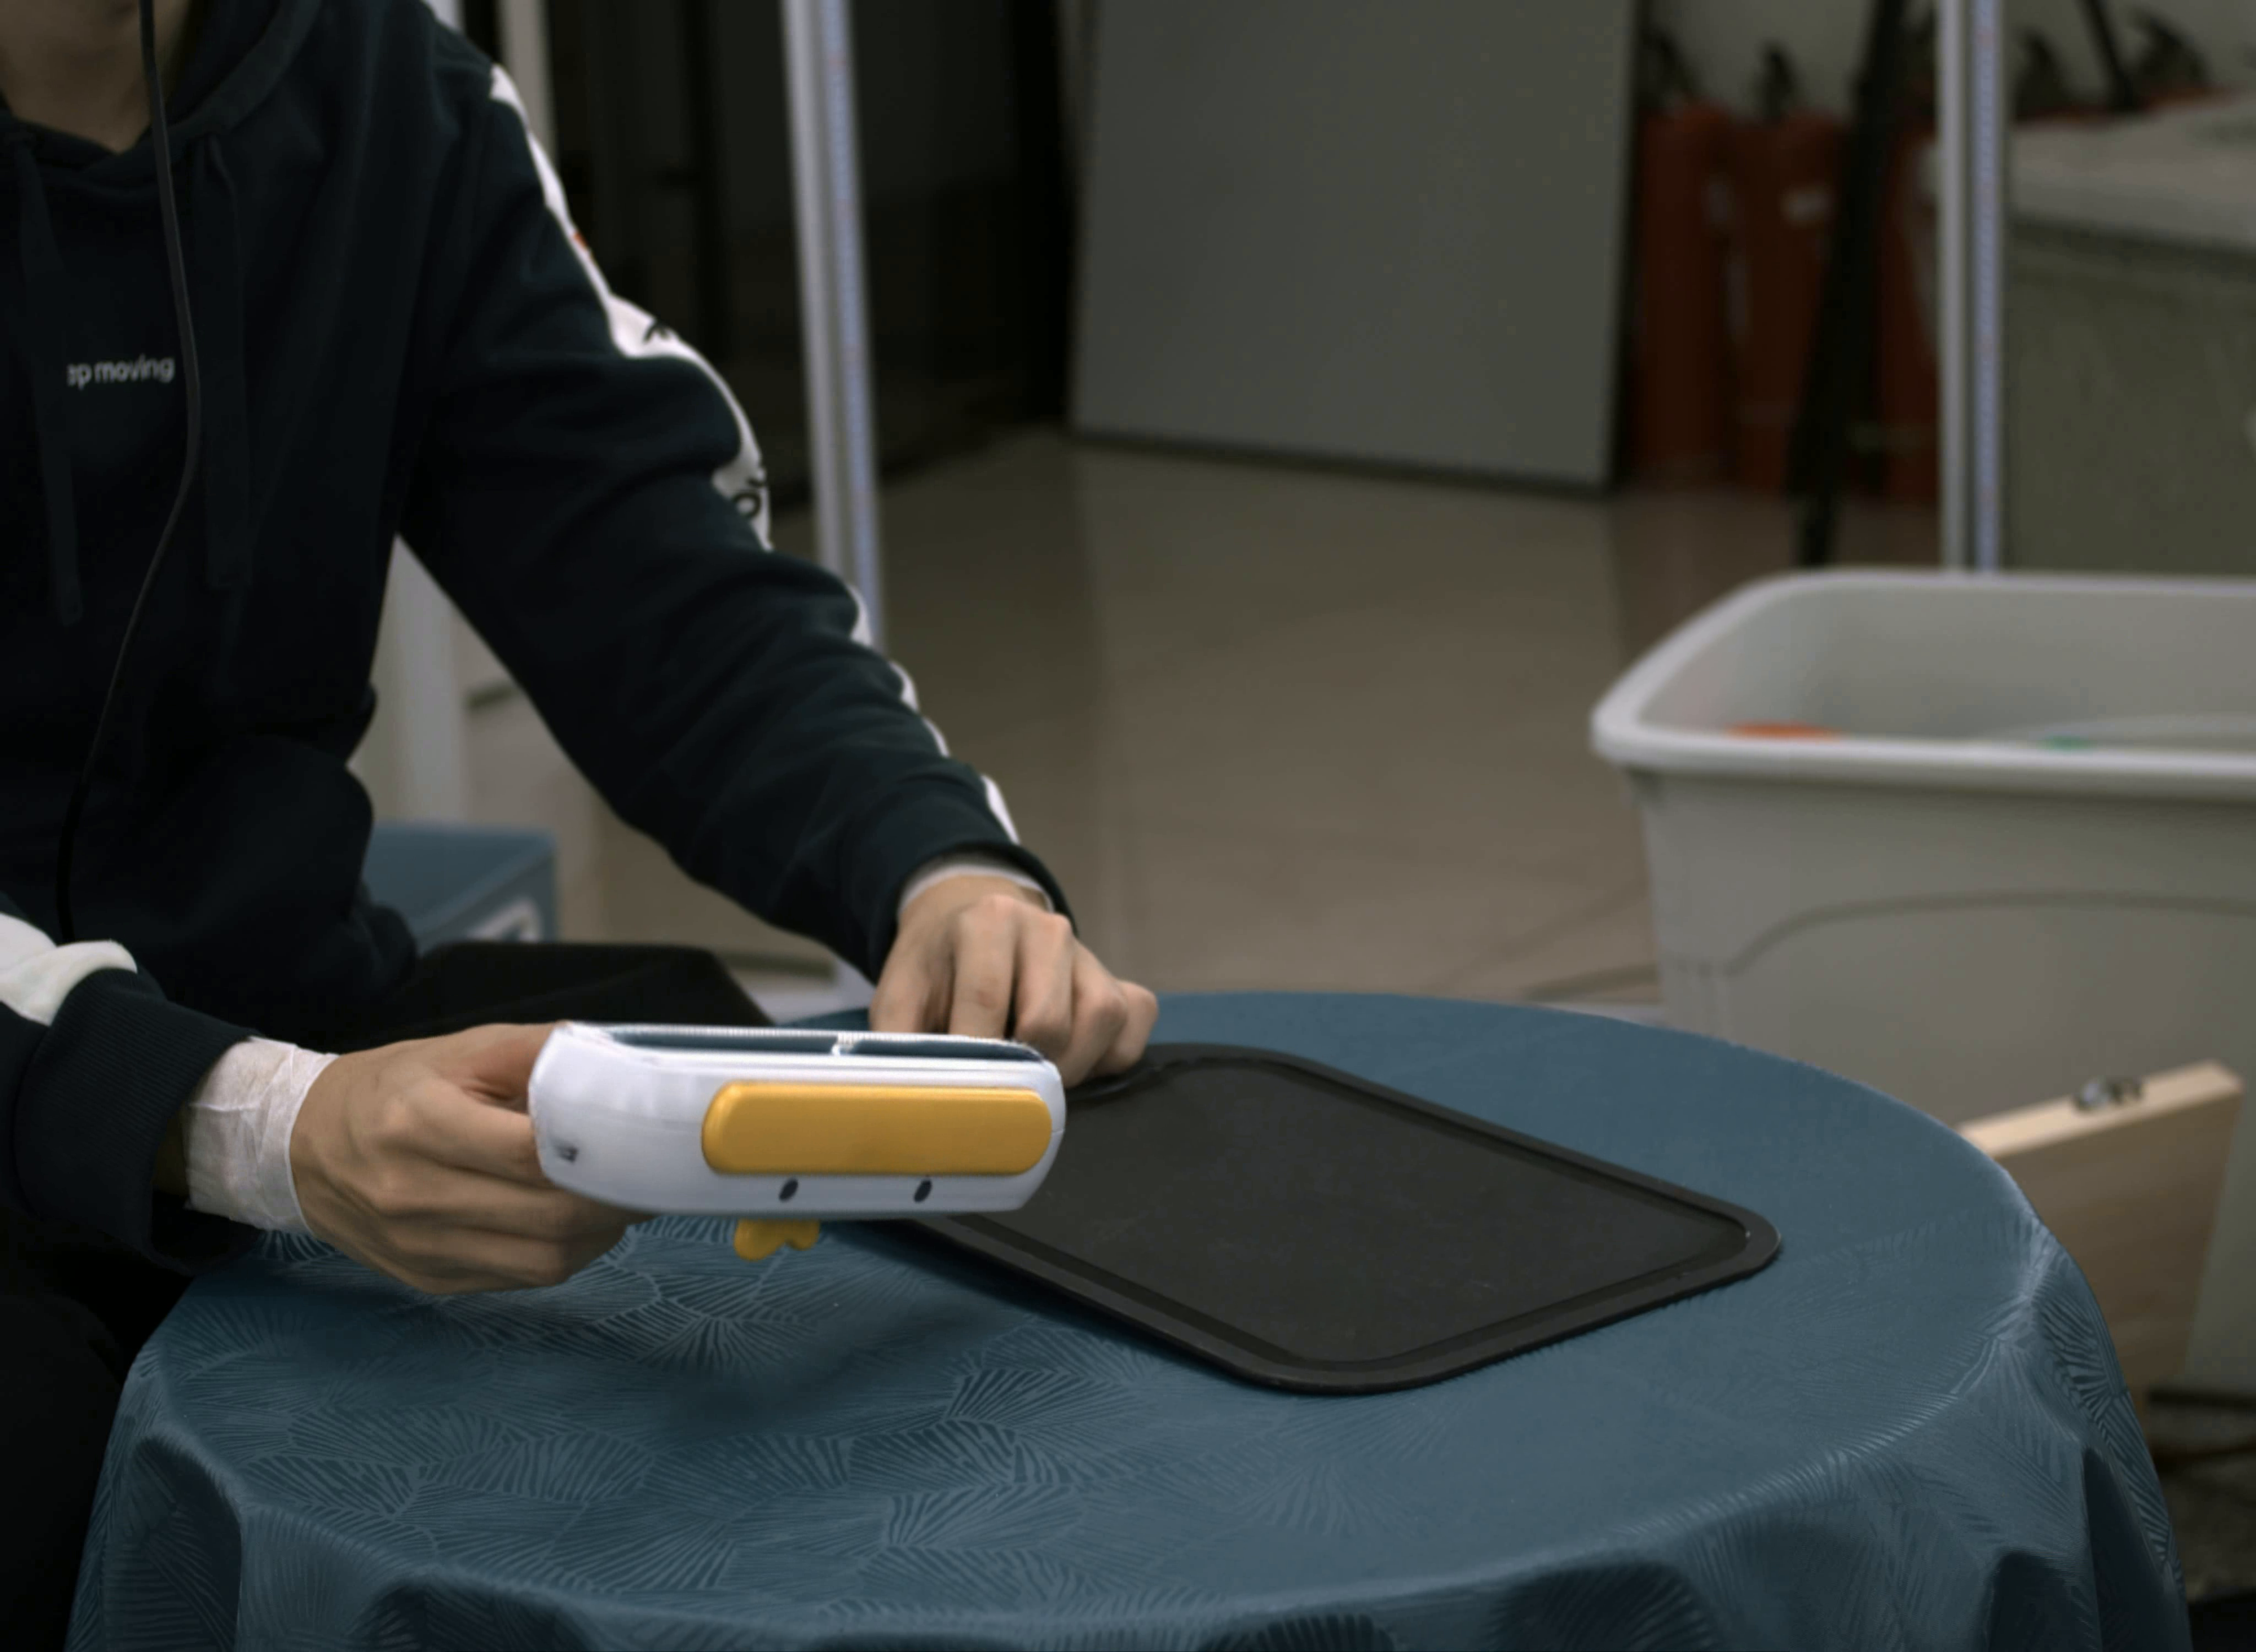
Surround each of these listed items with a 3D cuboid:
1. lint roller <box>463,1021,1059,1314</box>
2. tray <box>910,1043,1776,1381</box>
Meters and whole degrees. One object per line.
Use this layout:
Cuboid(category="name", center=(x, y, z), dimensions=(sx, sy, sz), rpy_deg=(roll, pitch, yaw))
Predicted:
Cuboid(category="lint roller", center=(-0.140, 0.108, 1.647), dimensions=(0.188, 0.075, 0.194), rpy_deg=(2, -12, -42))
Cuboid(category="tray", center=(0.041, 0.117, 1.737), dimensions=(0.206, 0.010, 0.329), rpy_deg=(-12, 18, -35))
